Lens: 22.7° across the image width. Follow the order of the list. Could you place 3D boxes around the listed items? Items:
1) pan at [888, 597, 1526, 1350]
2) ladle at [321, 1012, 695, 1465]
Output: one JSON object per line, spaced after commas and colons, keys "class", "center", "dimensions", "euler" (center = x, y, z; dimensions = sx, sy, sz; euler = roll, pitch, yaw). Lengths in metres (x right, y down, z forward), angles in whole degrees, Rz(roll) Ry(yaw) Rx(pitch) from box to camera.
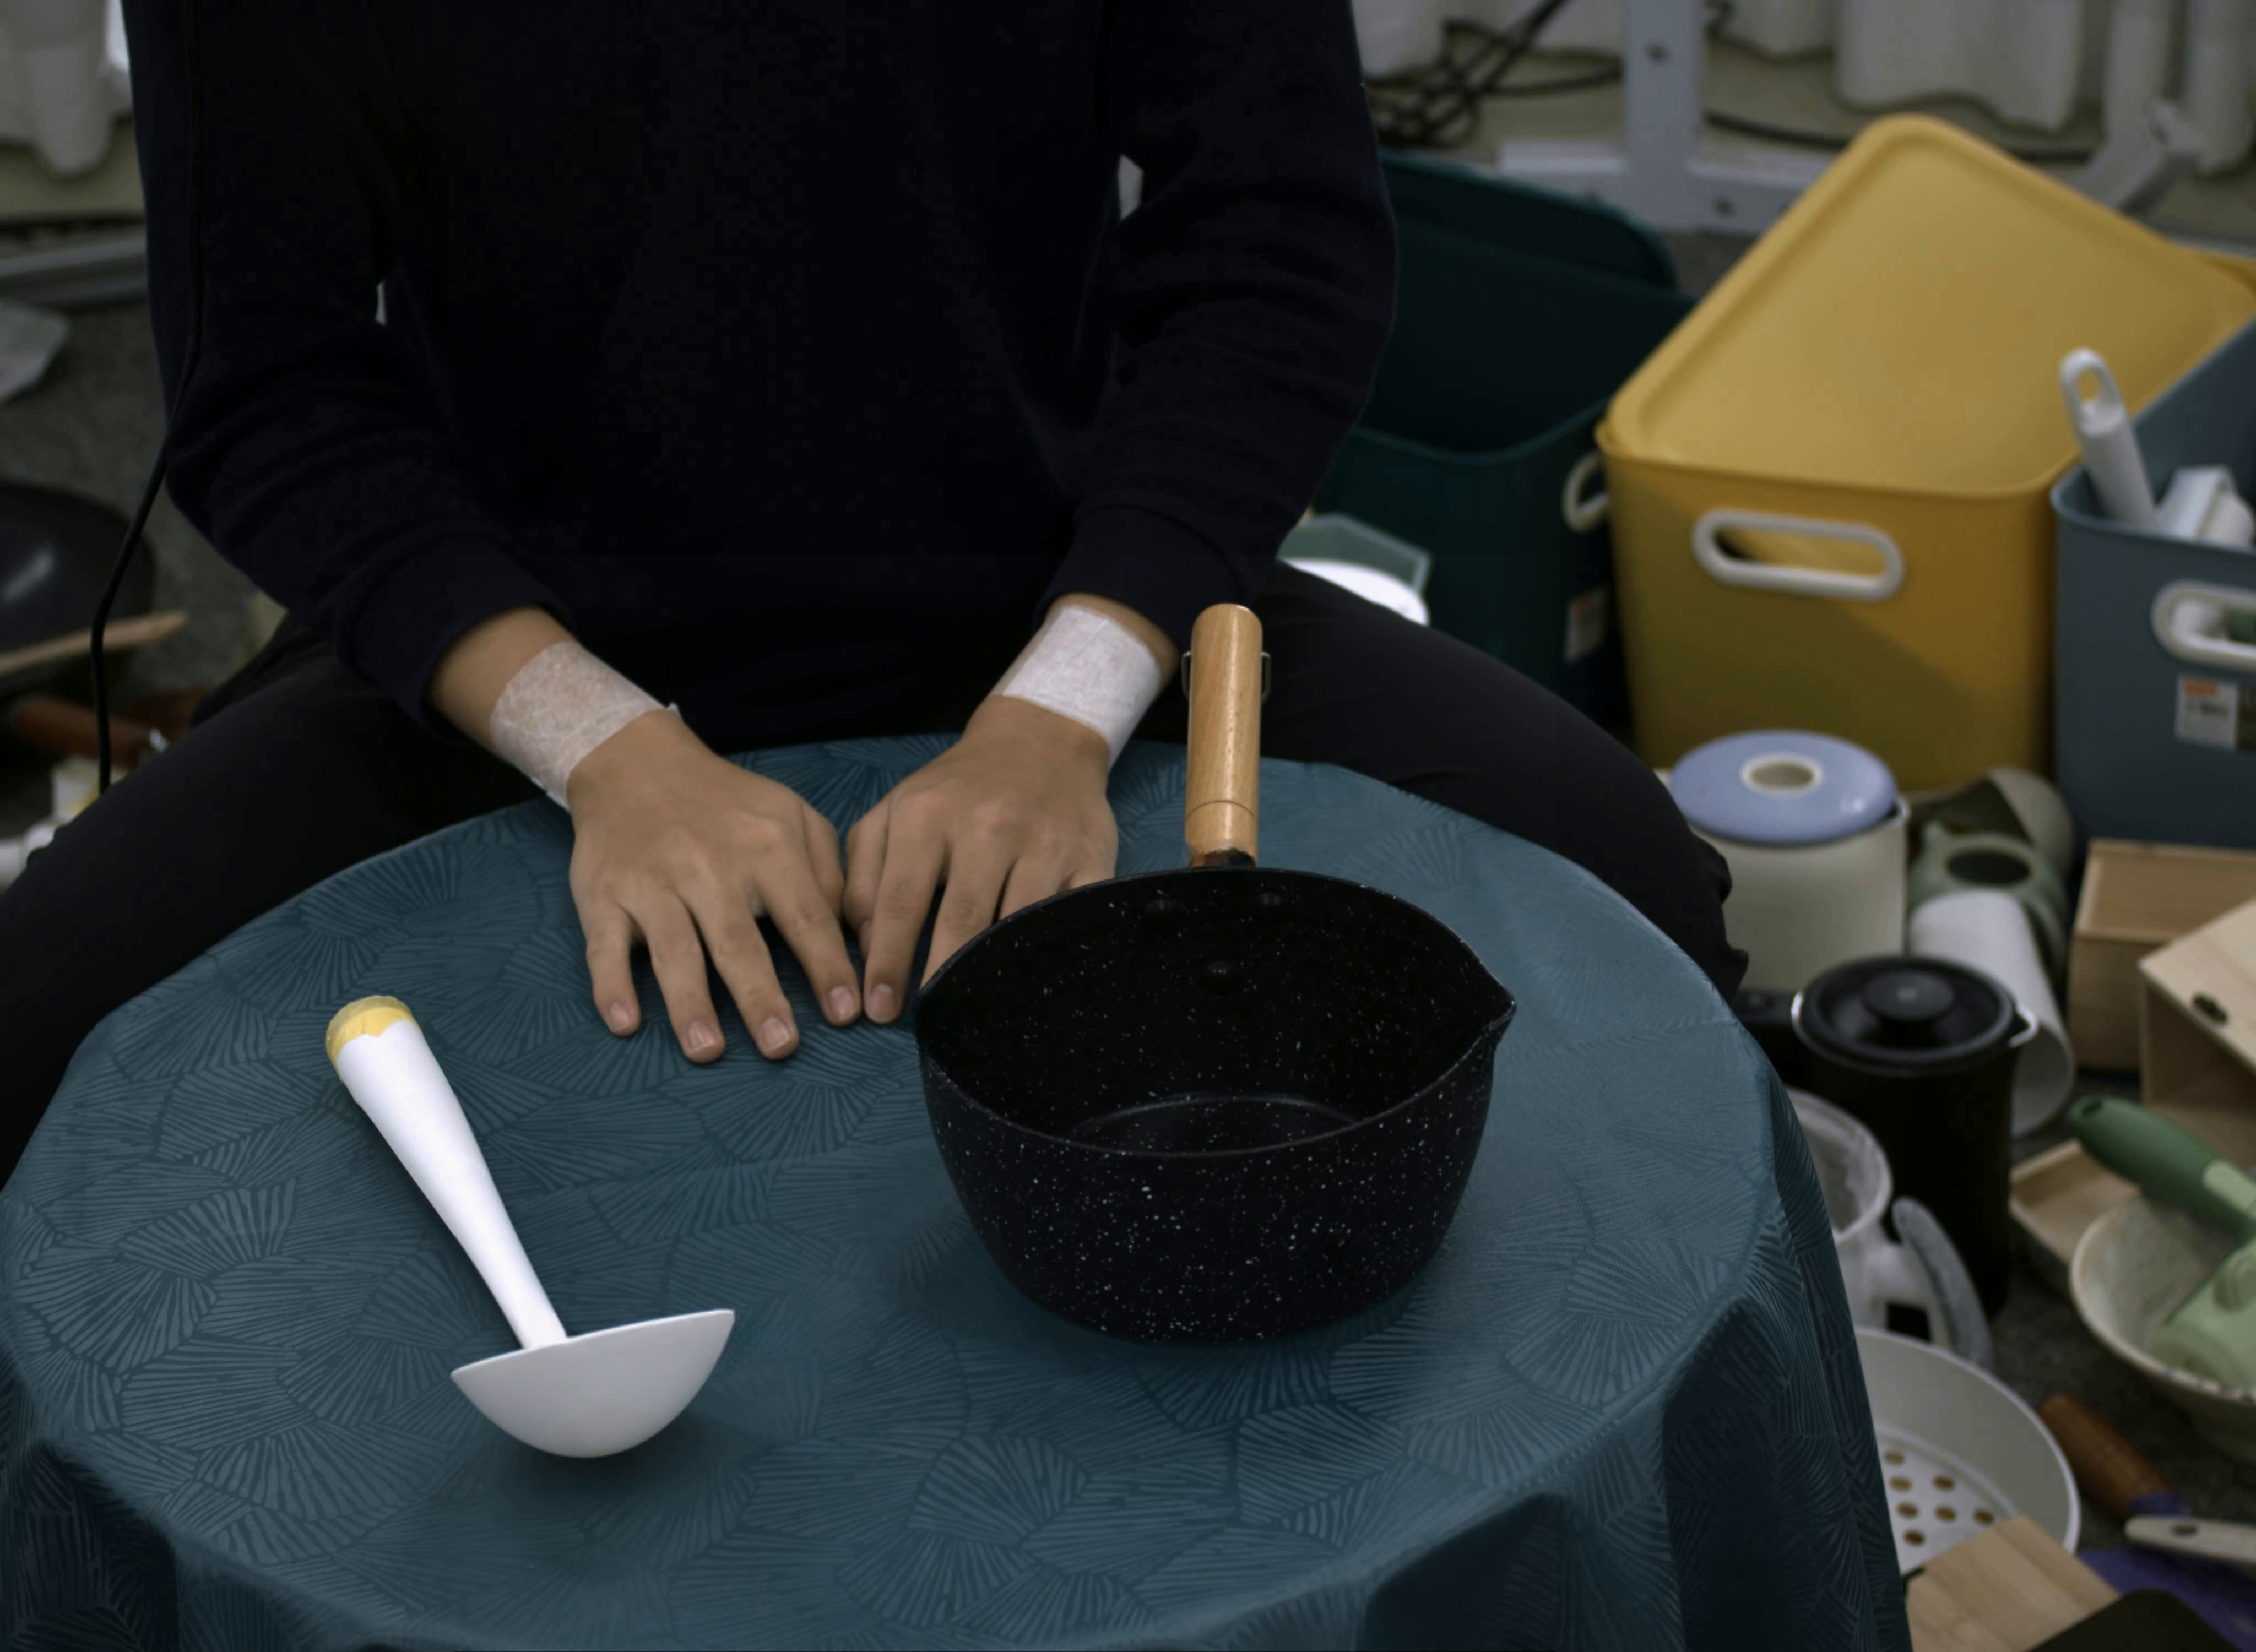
{"class": "pan", "center": [0.028, 0.046, 1.889], "dimensions": [0.206, 0.107, 0.348], "euler": [-3, 29, 3]}
{"class": "ladle", "center": [-0.215, 0.121, 1.815], "dimensions": [0.090, 0.069, 0.295], "euler": [-17, 30, -15]}
